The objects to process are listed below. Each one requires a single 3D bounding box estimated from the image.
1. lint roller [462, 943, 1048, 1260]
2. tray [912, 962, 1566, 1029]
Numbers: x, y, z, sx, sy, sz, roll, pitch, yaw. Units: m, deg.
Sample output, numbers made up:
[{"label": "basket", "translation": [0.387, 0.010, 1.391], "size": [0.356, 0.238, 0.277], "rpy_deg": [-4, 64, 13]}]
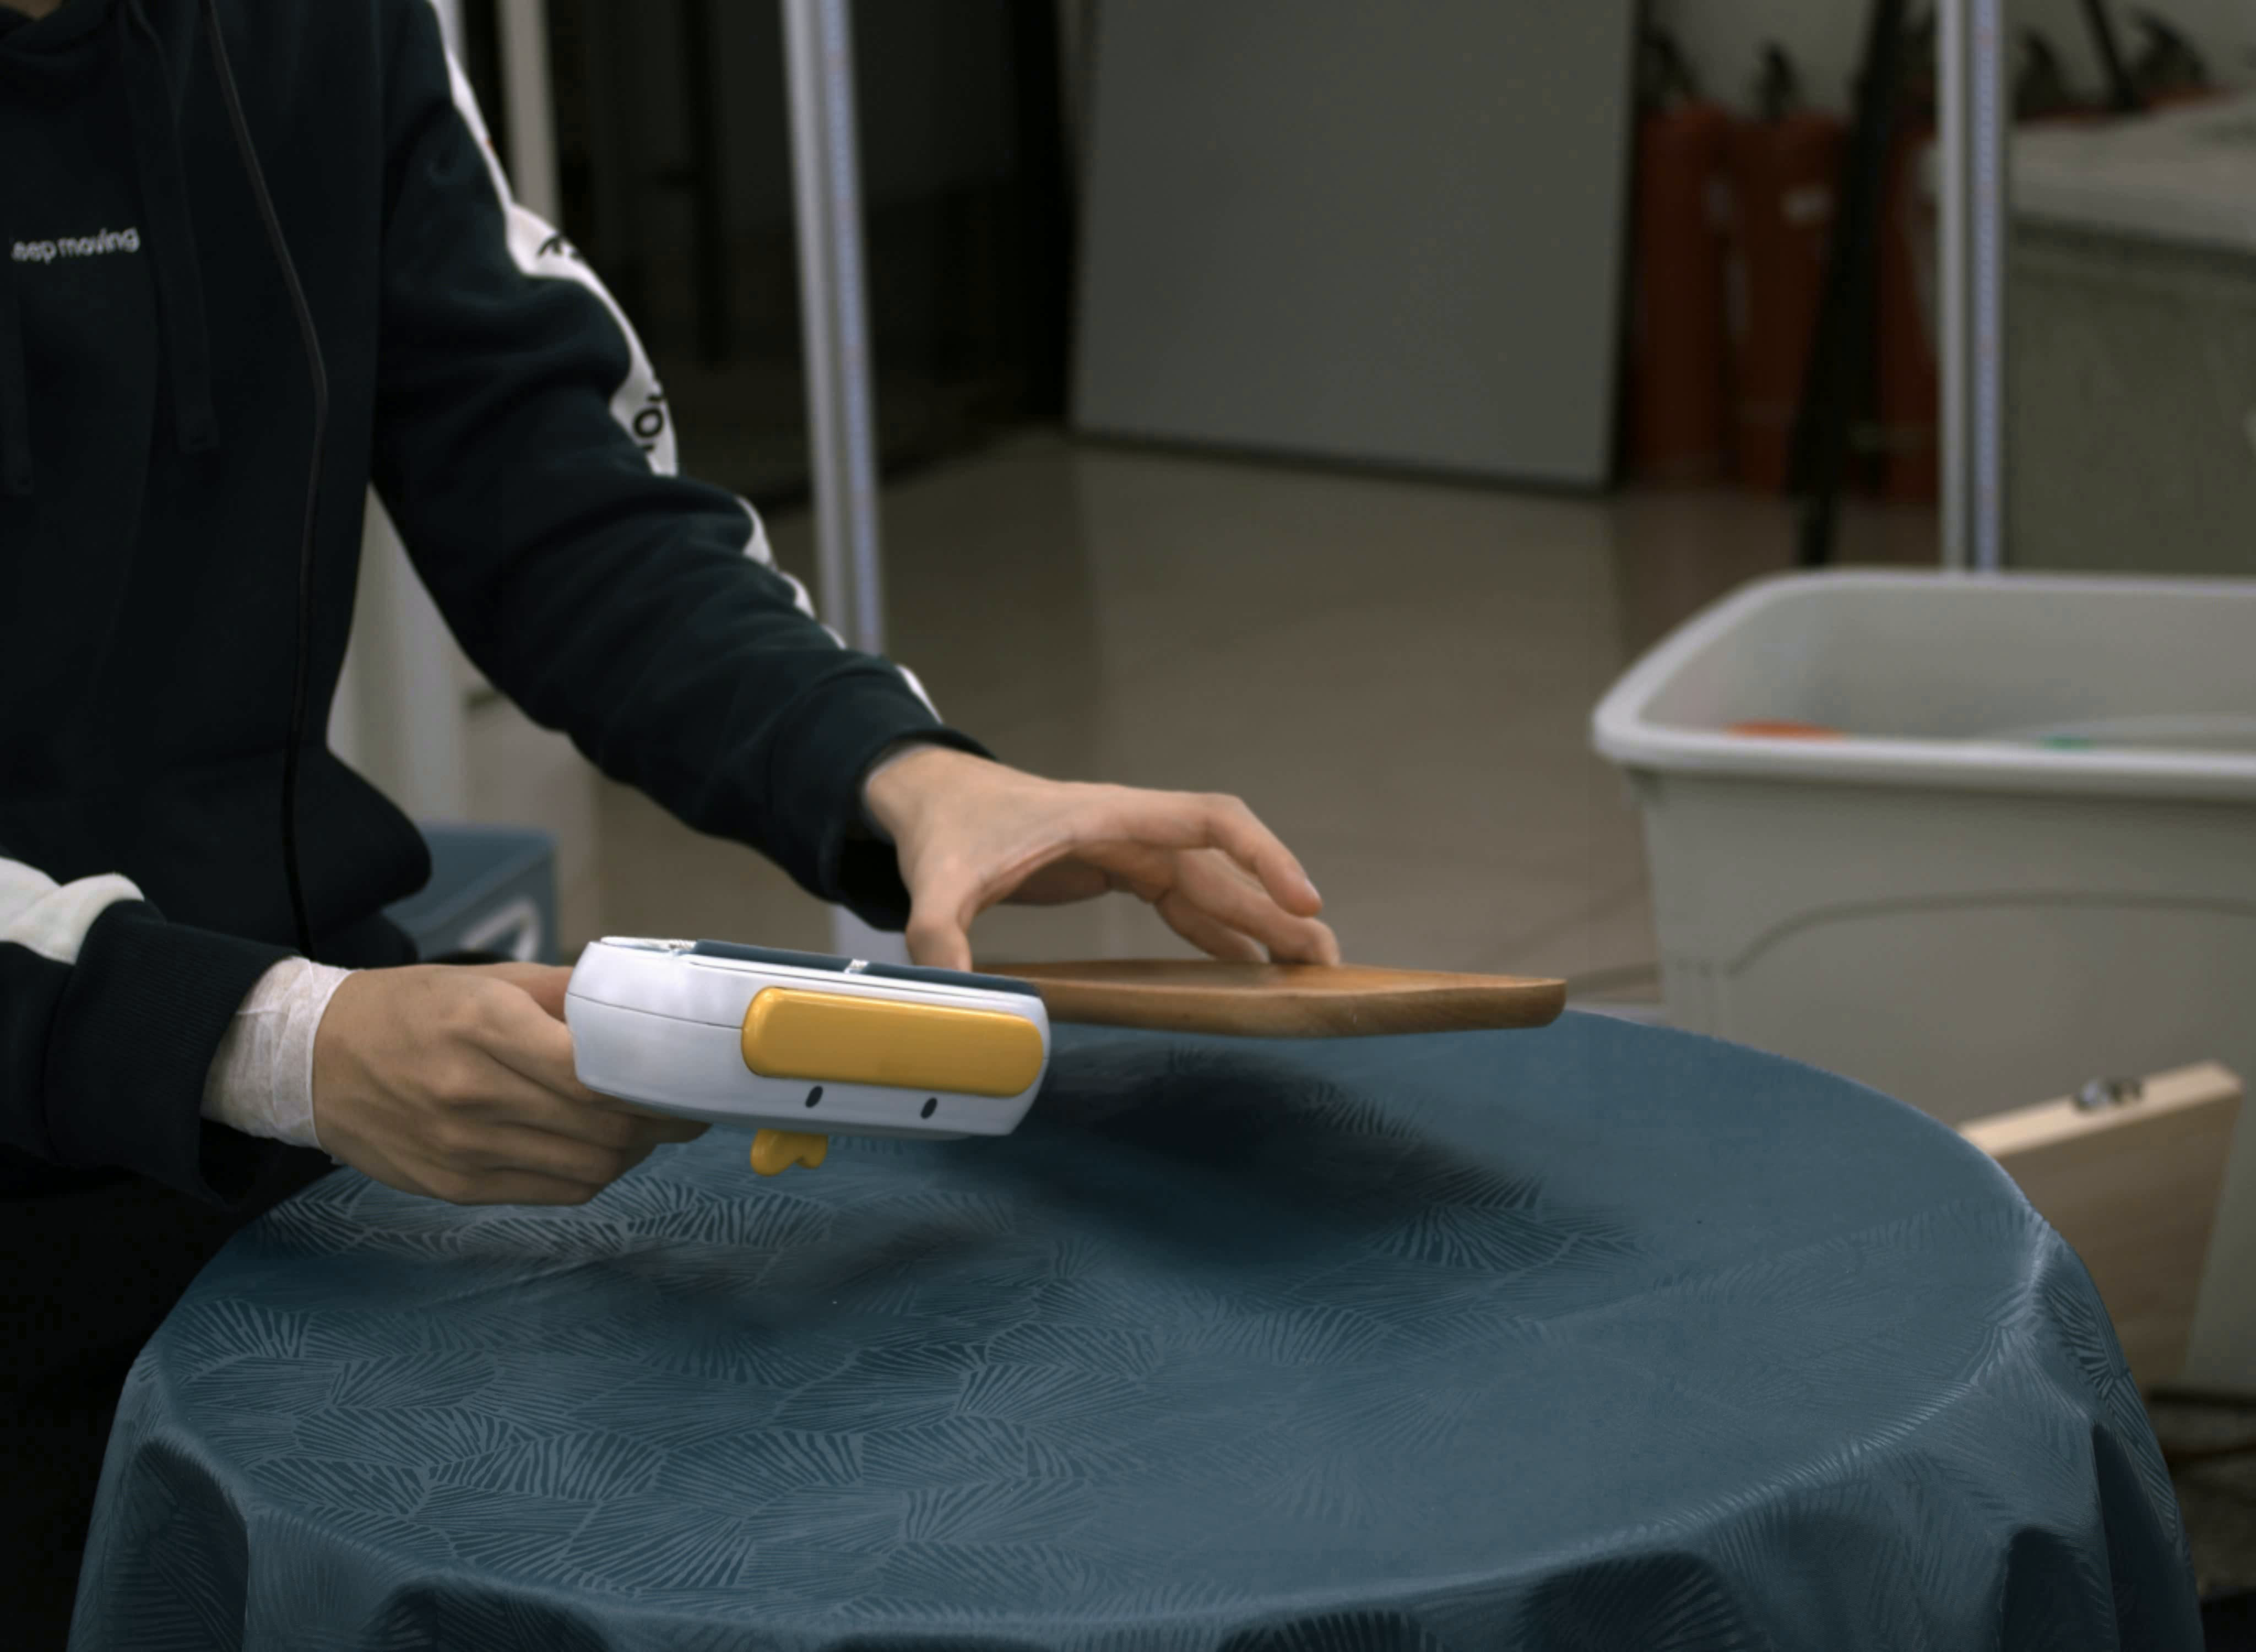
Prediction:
[{"label": "lint roller", "translation": [-0.144, 0.091, 1.711], "size": [0.194, 0.075, 0.188], "rpy_deg": [-18, -15, 41]}, {"label": "tray", "translation": [0.033, 0.056, 1.798], "size": [0.127, 0.023, 0.253], "rpy_deg": [3, -2, -30]}]
